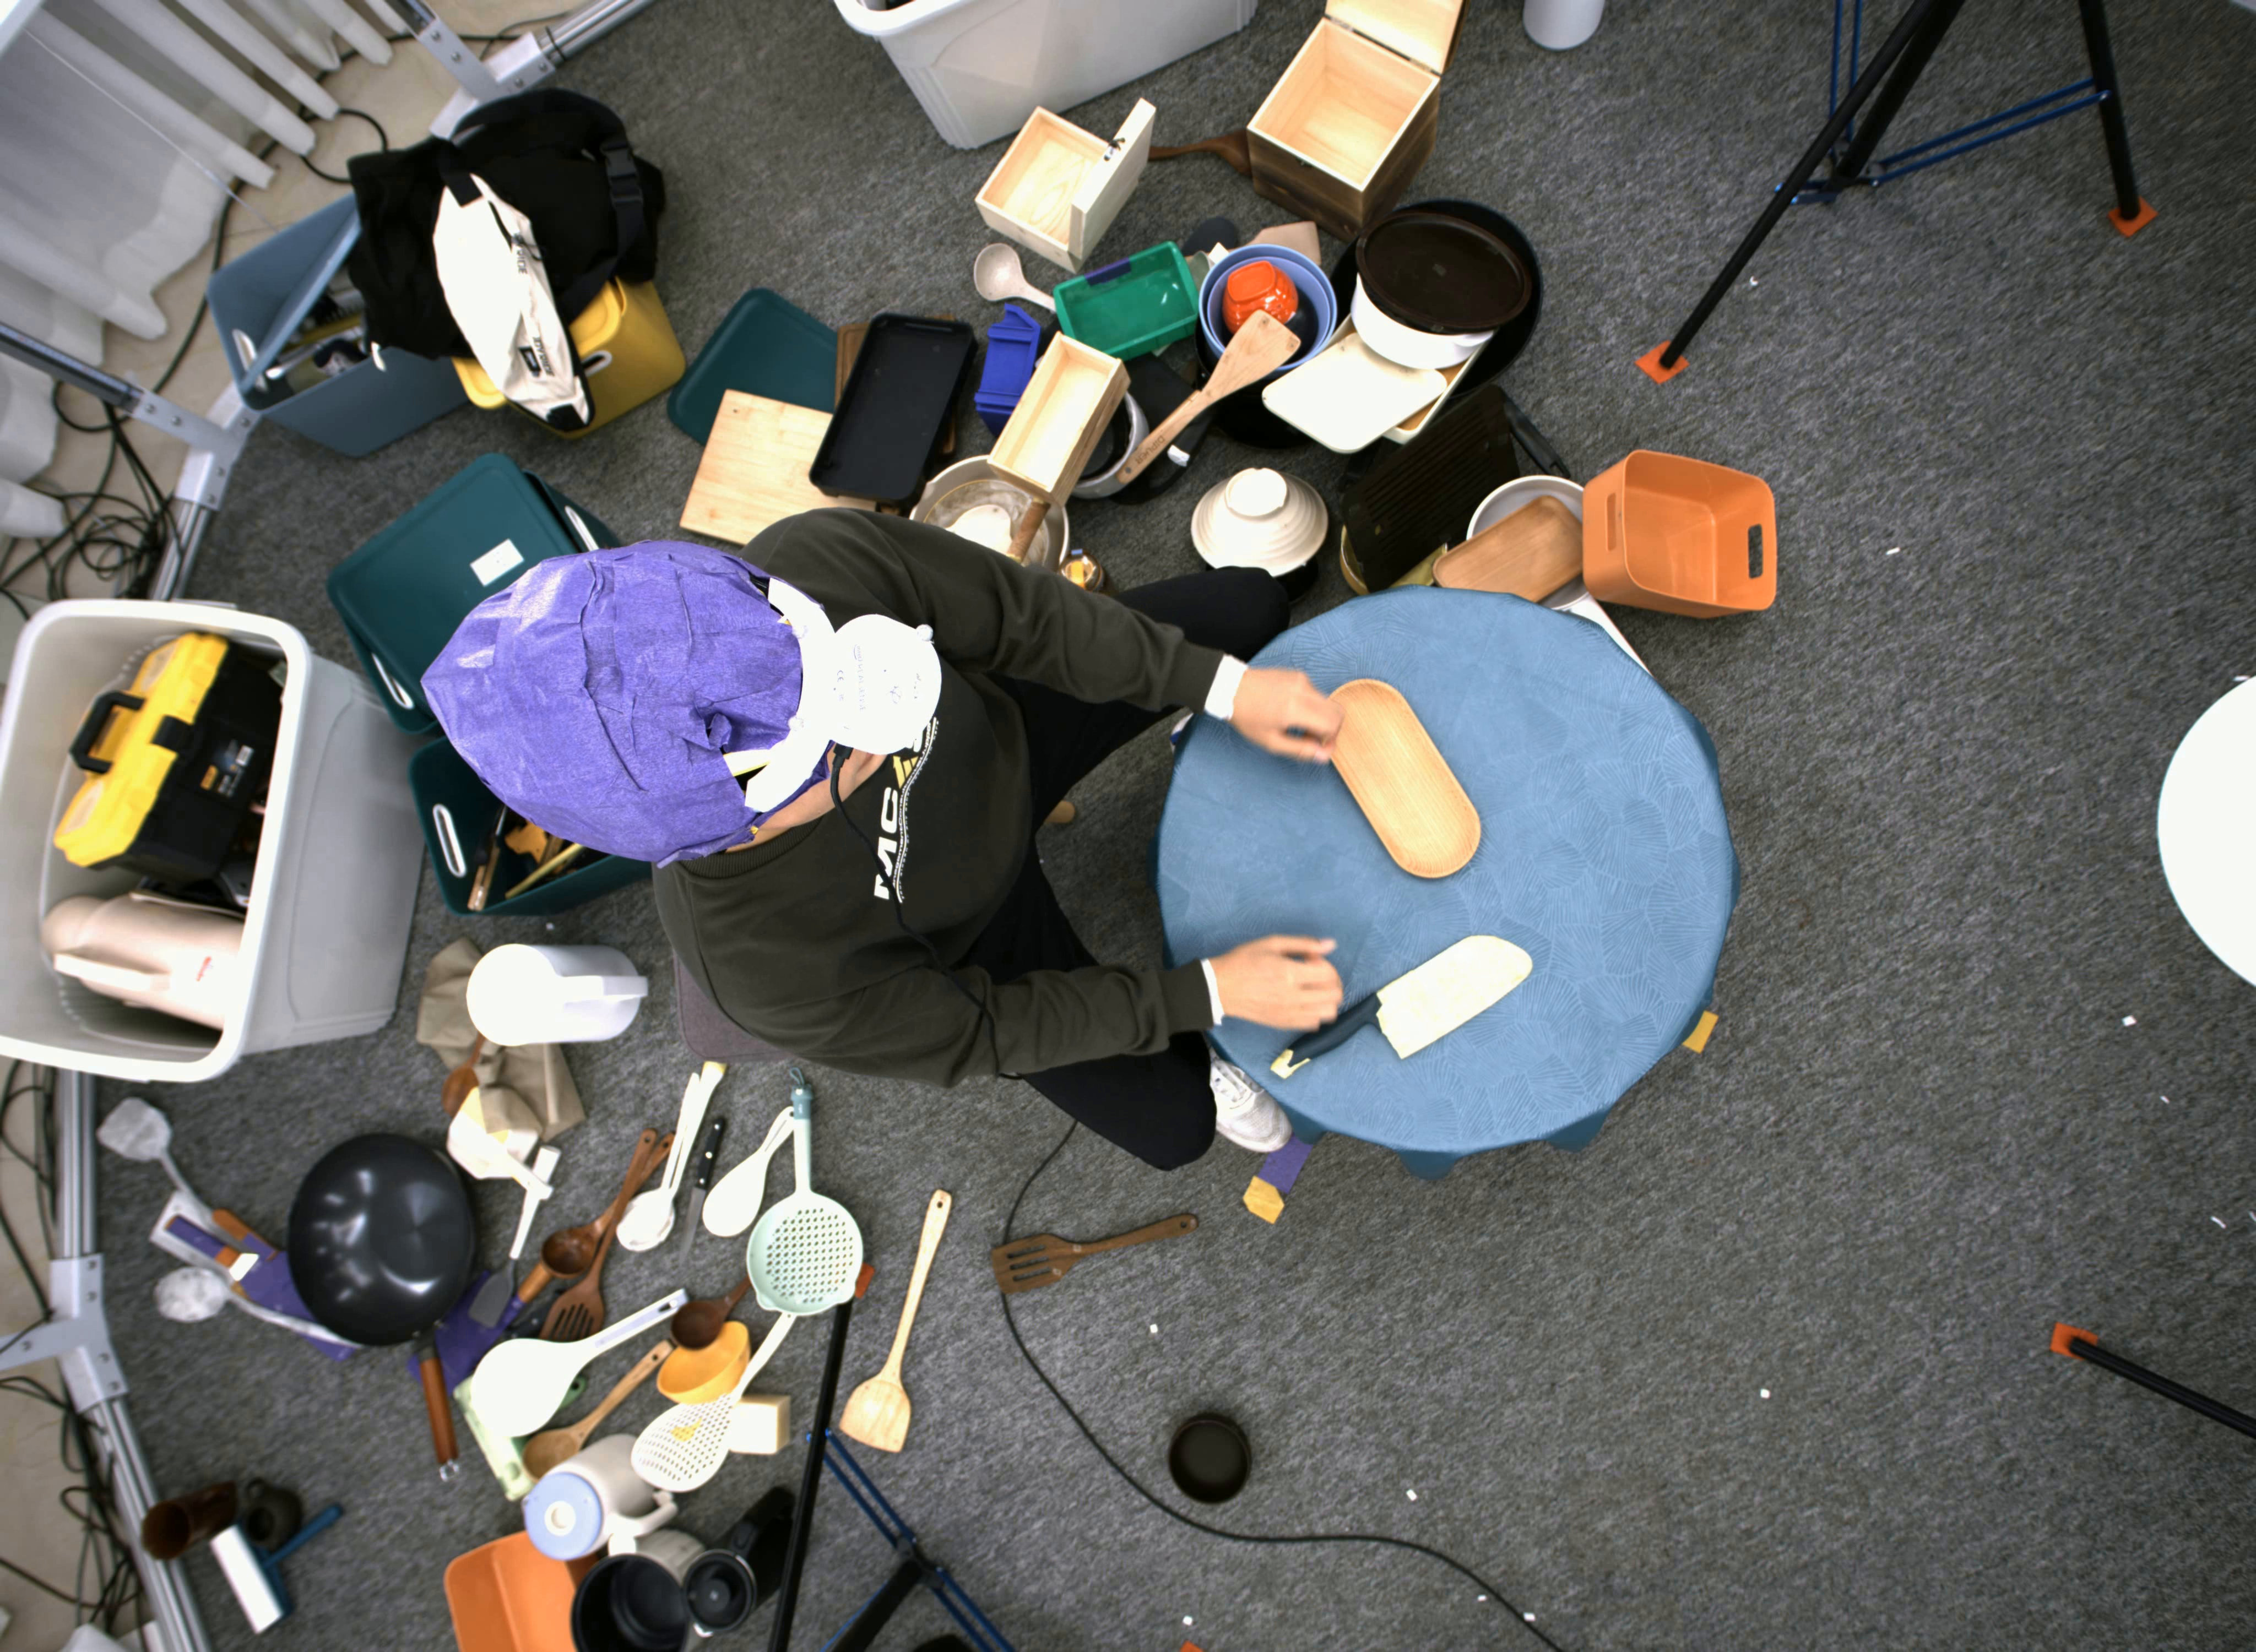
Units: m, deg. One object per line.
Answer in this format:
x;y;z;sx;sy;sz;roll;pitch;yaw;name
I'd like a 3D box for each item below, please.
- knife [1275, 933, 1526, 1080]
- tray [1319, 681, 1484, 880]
0.286;0.196;1.443;0.291;0.027;0.080;-30;80;7;knife
0.288;-0.050;1.455;0.102;0.020;0.230;-32;83;9;tray
